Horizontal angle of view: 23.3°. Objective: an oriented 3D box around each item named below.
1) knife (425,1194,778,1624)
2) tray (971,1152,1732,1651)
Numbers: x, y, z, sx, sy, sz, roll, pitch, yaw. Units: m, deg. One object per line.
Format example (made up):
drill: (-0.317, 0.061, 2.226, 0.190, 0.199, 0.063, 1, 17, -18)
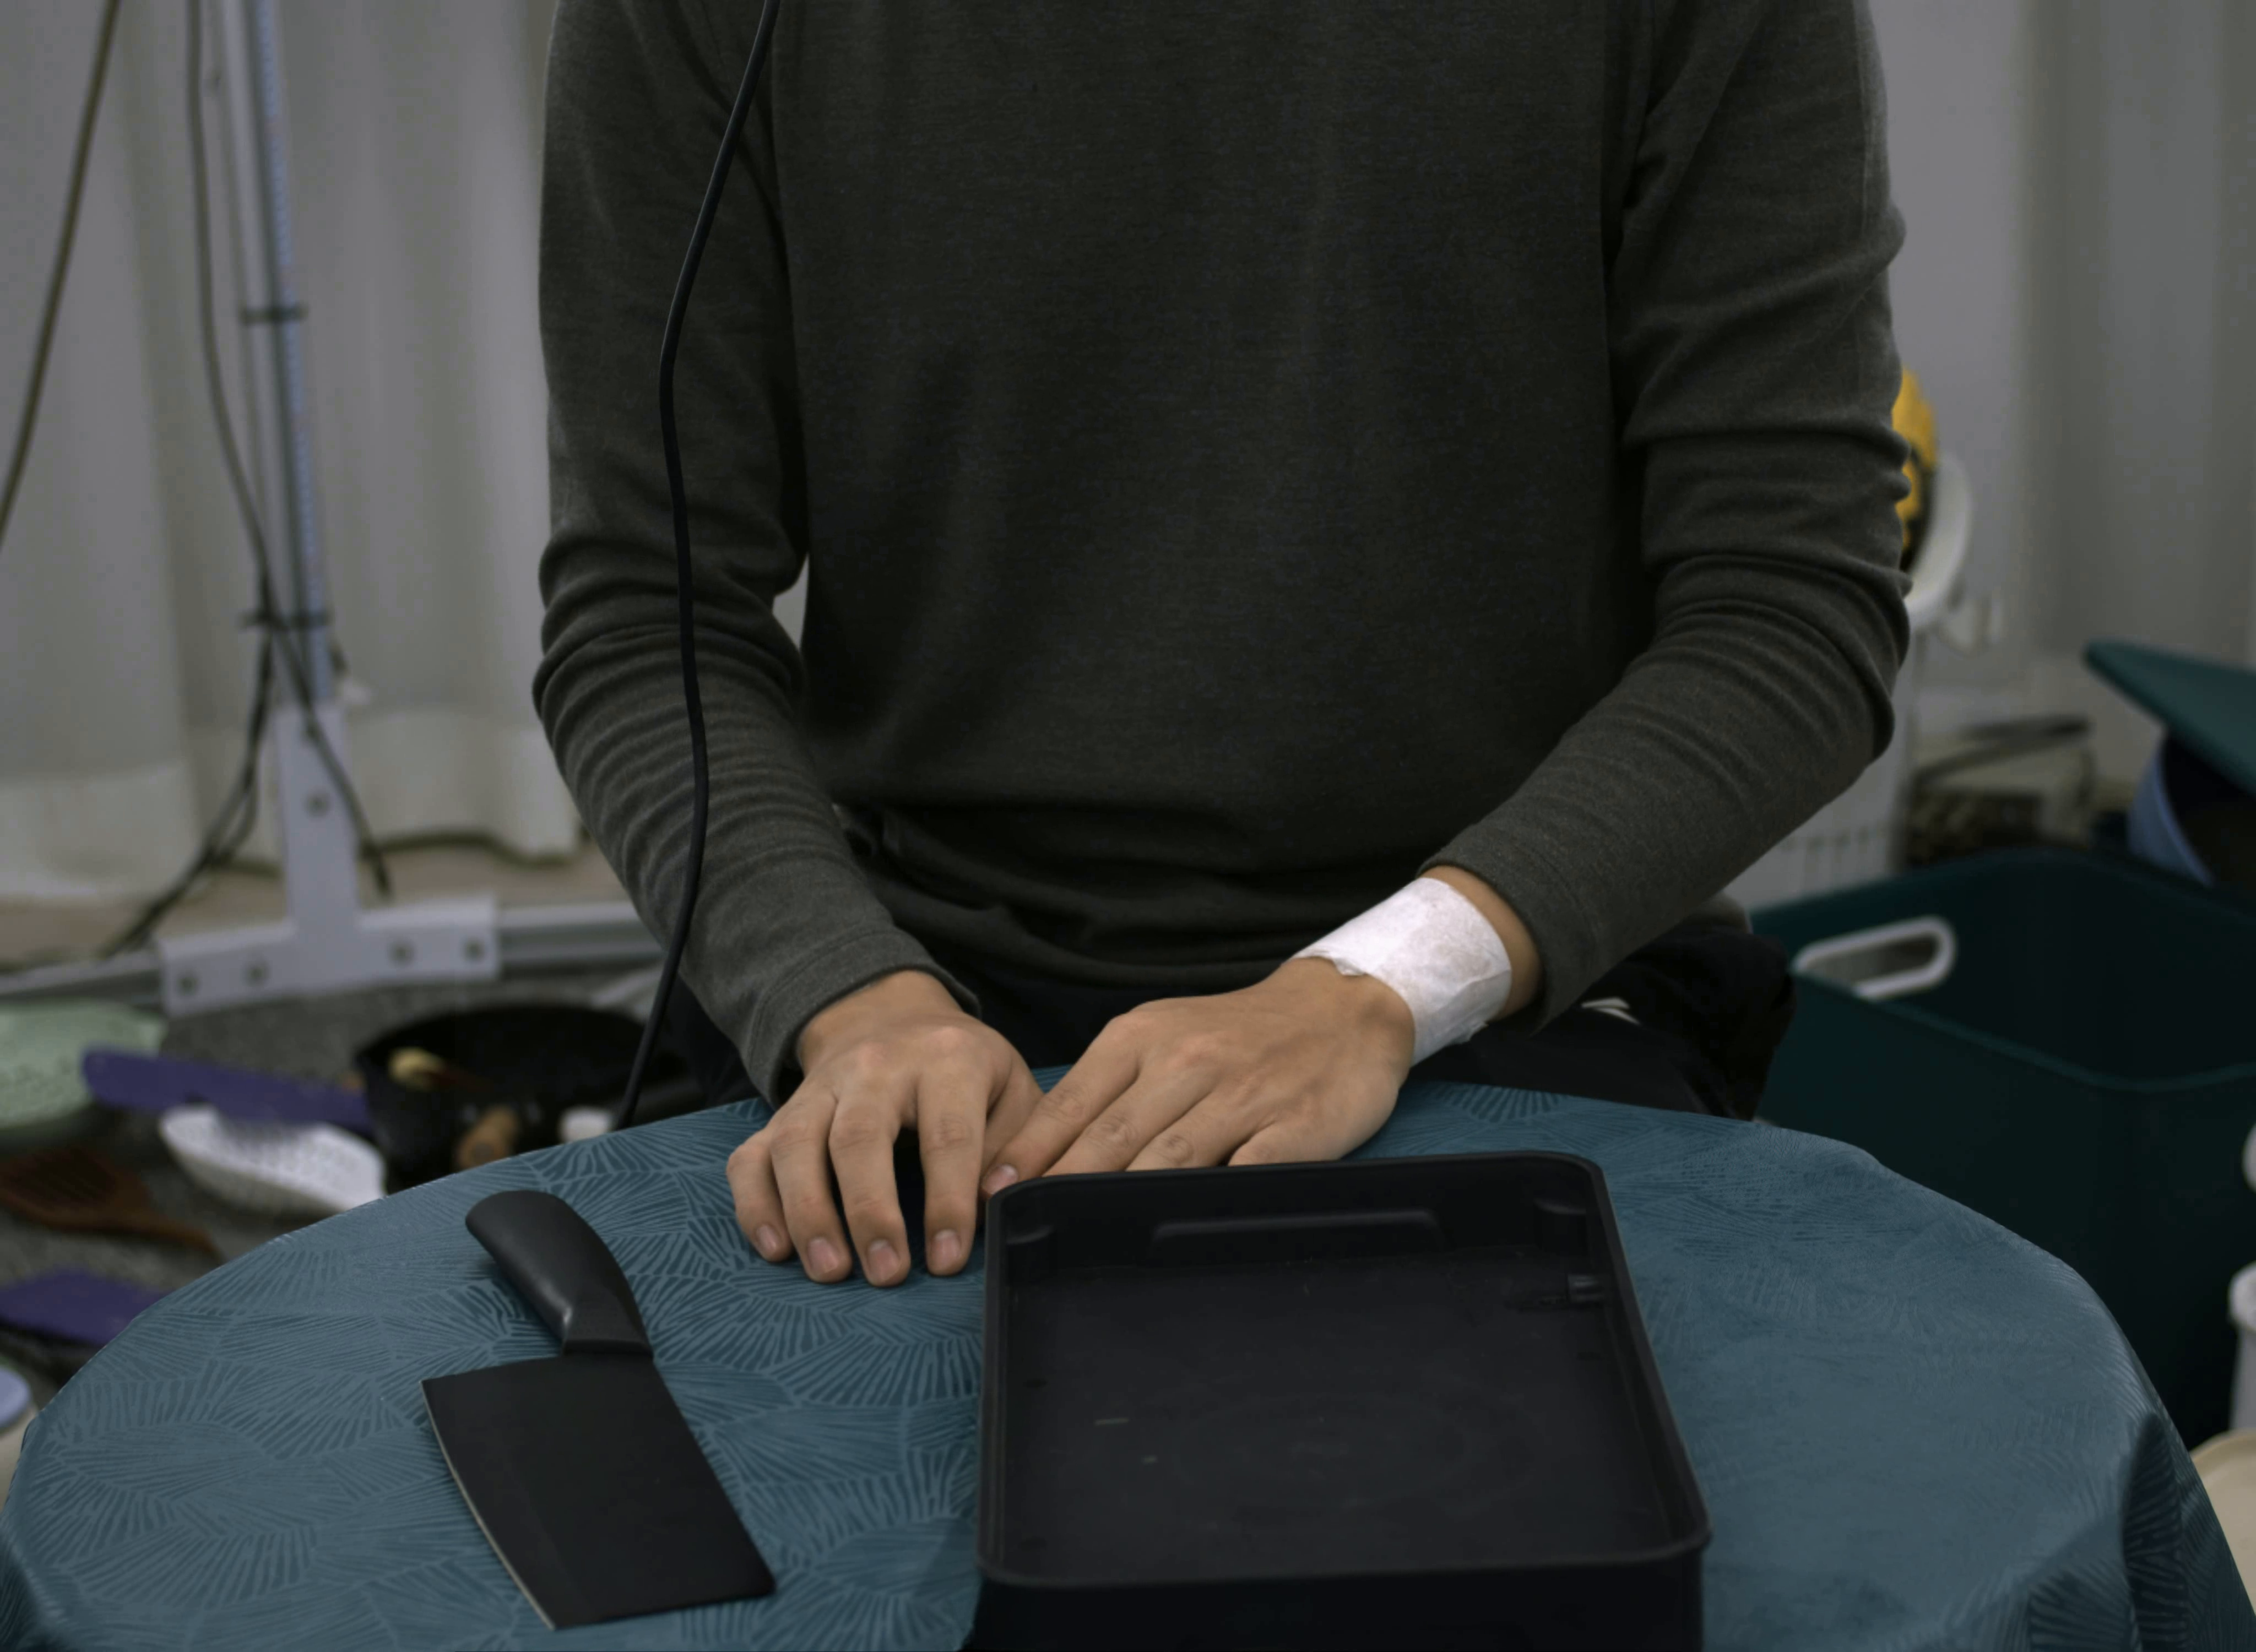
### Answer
knife: (-0.159, 0.162, 1.544, 0.080, 0.021, 0.305, -7, 17, -11)
tray: (0.052, 0.158, 1.475, 0.183, 0.037, 0.320, -3, 14, -2)
